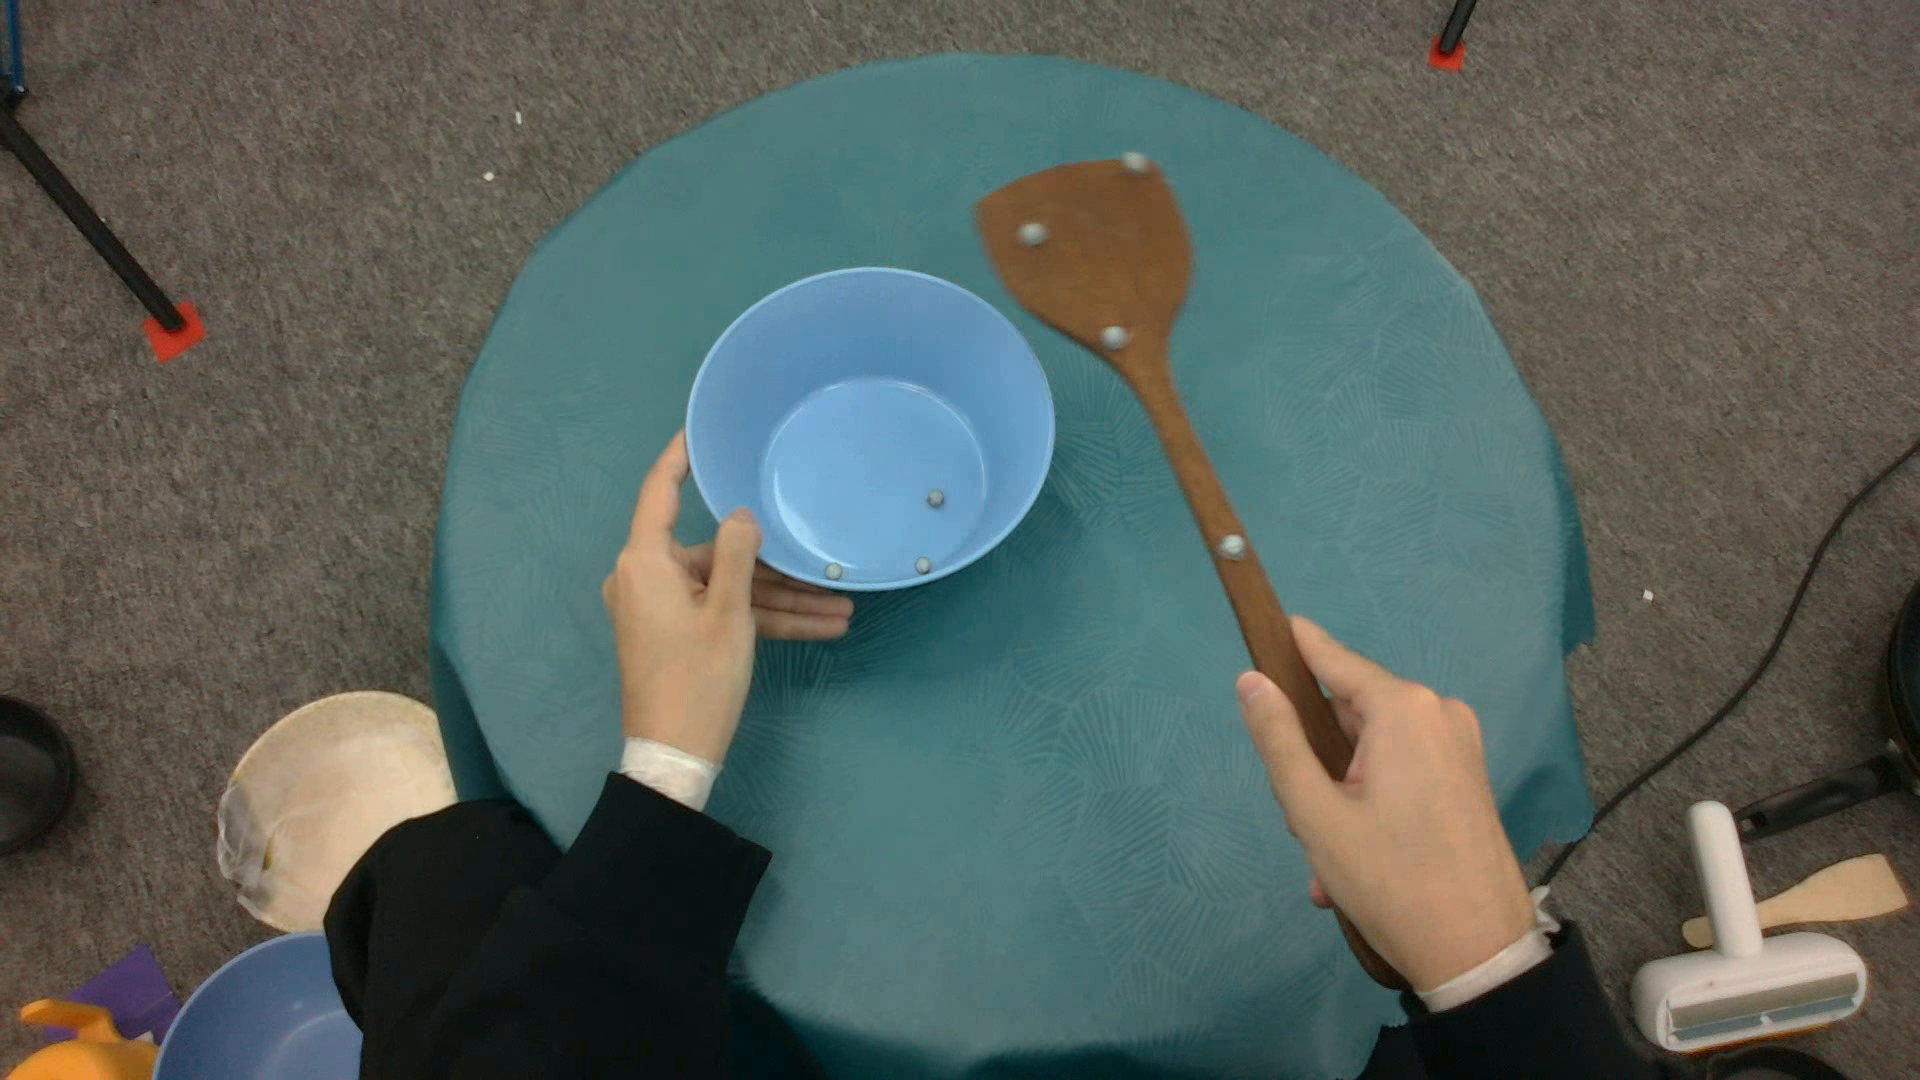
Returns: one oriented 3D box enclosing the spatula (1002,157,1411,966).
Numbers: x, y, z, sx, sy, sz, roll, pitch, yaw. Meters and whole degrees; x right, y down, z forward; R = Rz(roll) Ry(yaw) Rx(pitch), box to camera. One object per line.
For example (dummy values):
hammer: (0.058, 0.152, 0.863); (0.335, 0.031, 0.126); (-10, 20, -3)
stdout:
spatula: (0.105, -0.017, 0.571); (0.096, 0.016, 0.387); (-9, 61, -11)

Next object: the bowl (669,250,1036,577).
bowl: (-0.052, -0.053, 0.687); (0.176, 0.070, 0.176); (1, 67, -2)
